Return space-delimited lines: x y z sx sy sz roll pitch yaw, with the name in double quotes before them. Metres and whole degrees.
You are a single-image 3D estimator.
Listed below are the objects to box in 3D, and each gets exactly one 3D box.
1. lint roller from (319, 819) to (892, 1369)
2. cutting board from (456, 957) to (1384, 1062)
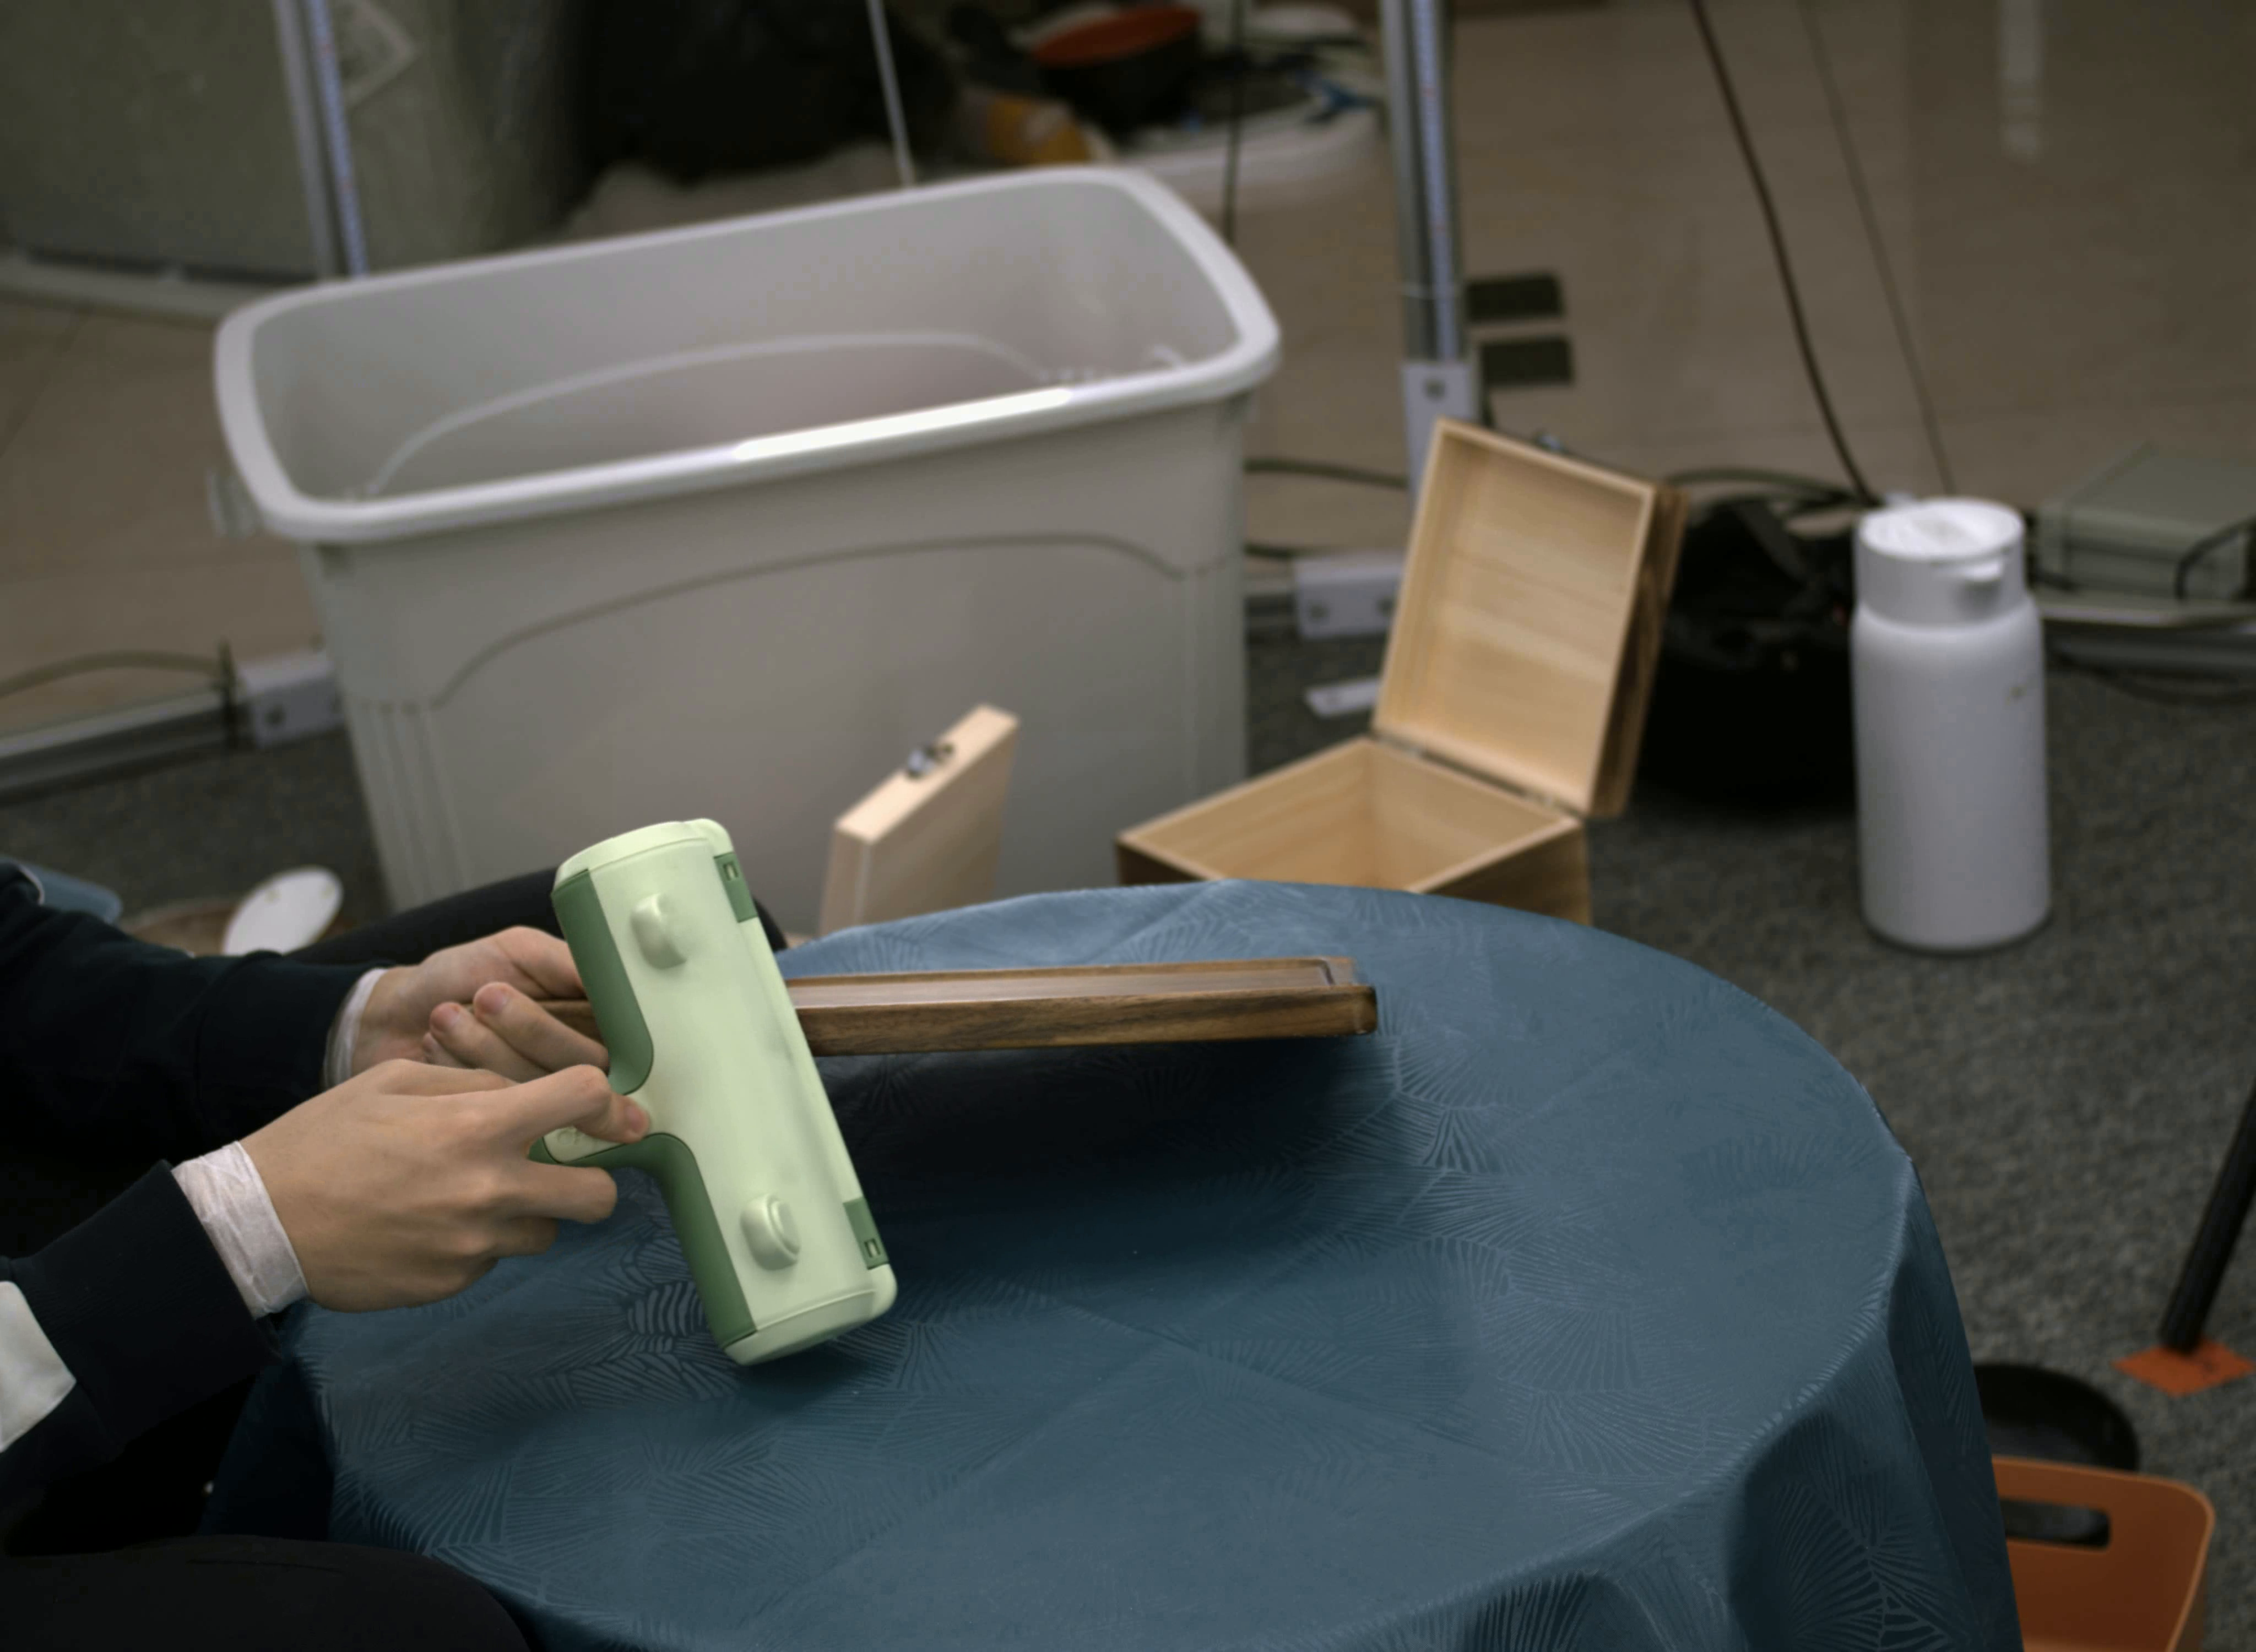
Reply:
"lint roller" -0.197 0.110 2.024 0.182 0.198 0.083 -18 -7 -22
"cutting board" -0.082 0.072 2.175 0.351 0.023 0.200 -3 2 0
